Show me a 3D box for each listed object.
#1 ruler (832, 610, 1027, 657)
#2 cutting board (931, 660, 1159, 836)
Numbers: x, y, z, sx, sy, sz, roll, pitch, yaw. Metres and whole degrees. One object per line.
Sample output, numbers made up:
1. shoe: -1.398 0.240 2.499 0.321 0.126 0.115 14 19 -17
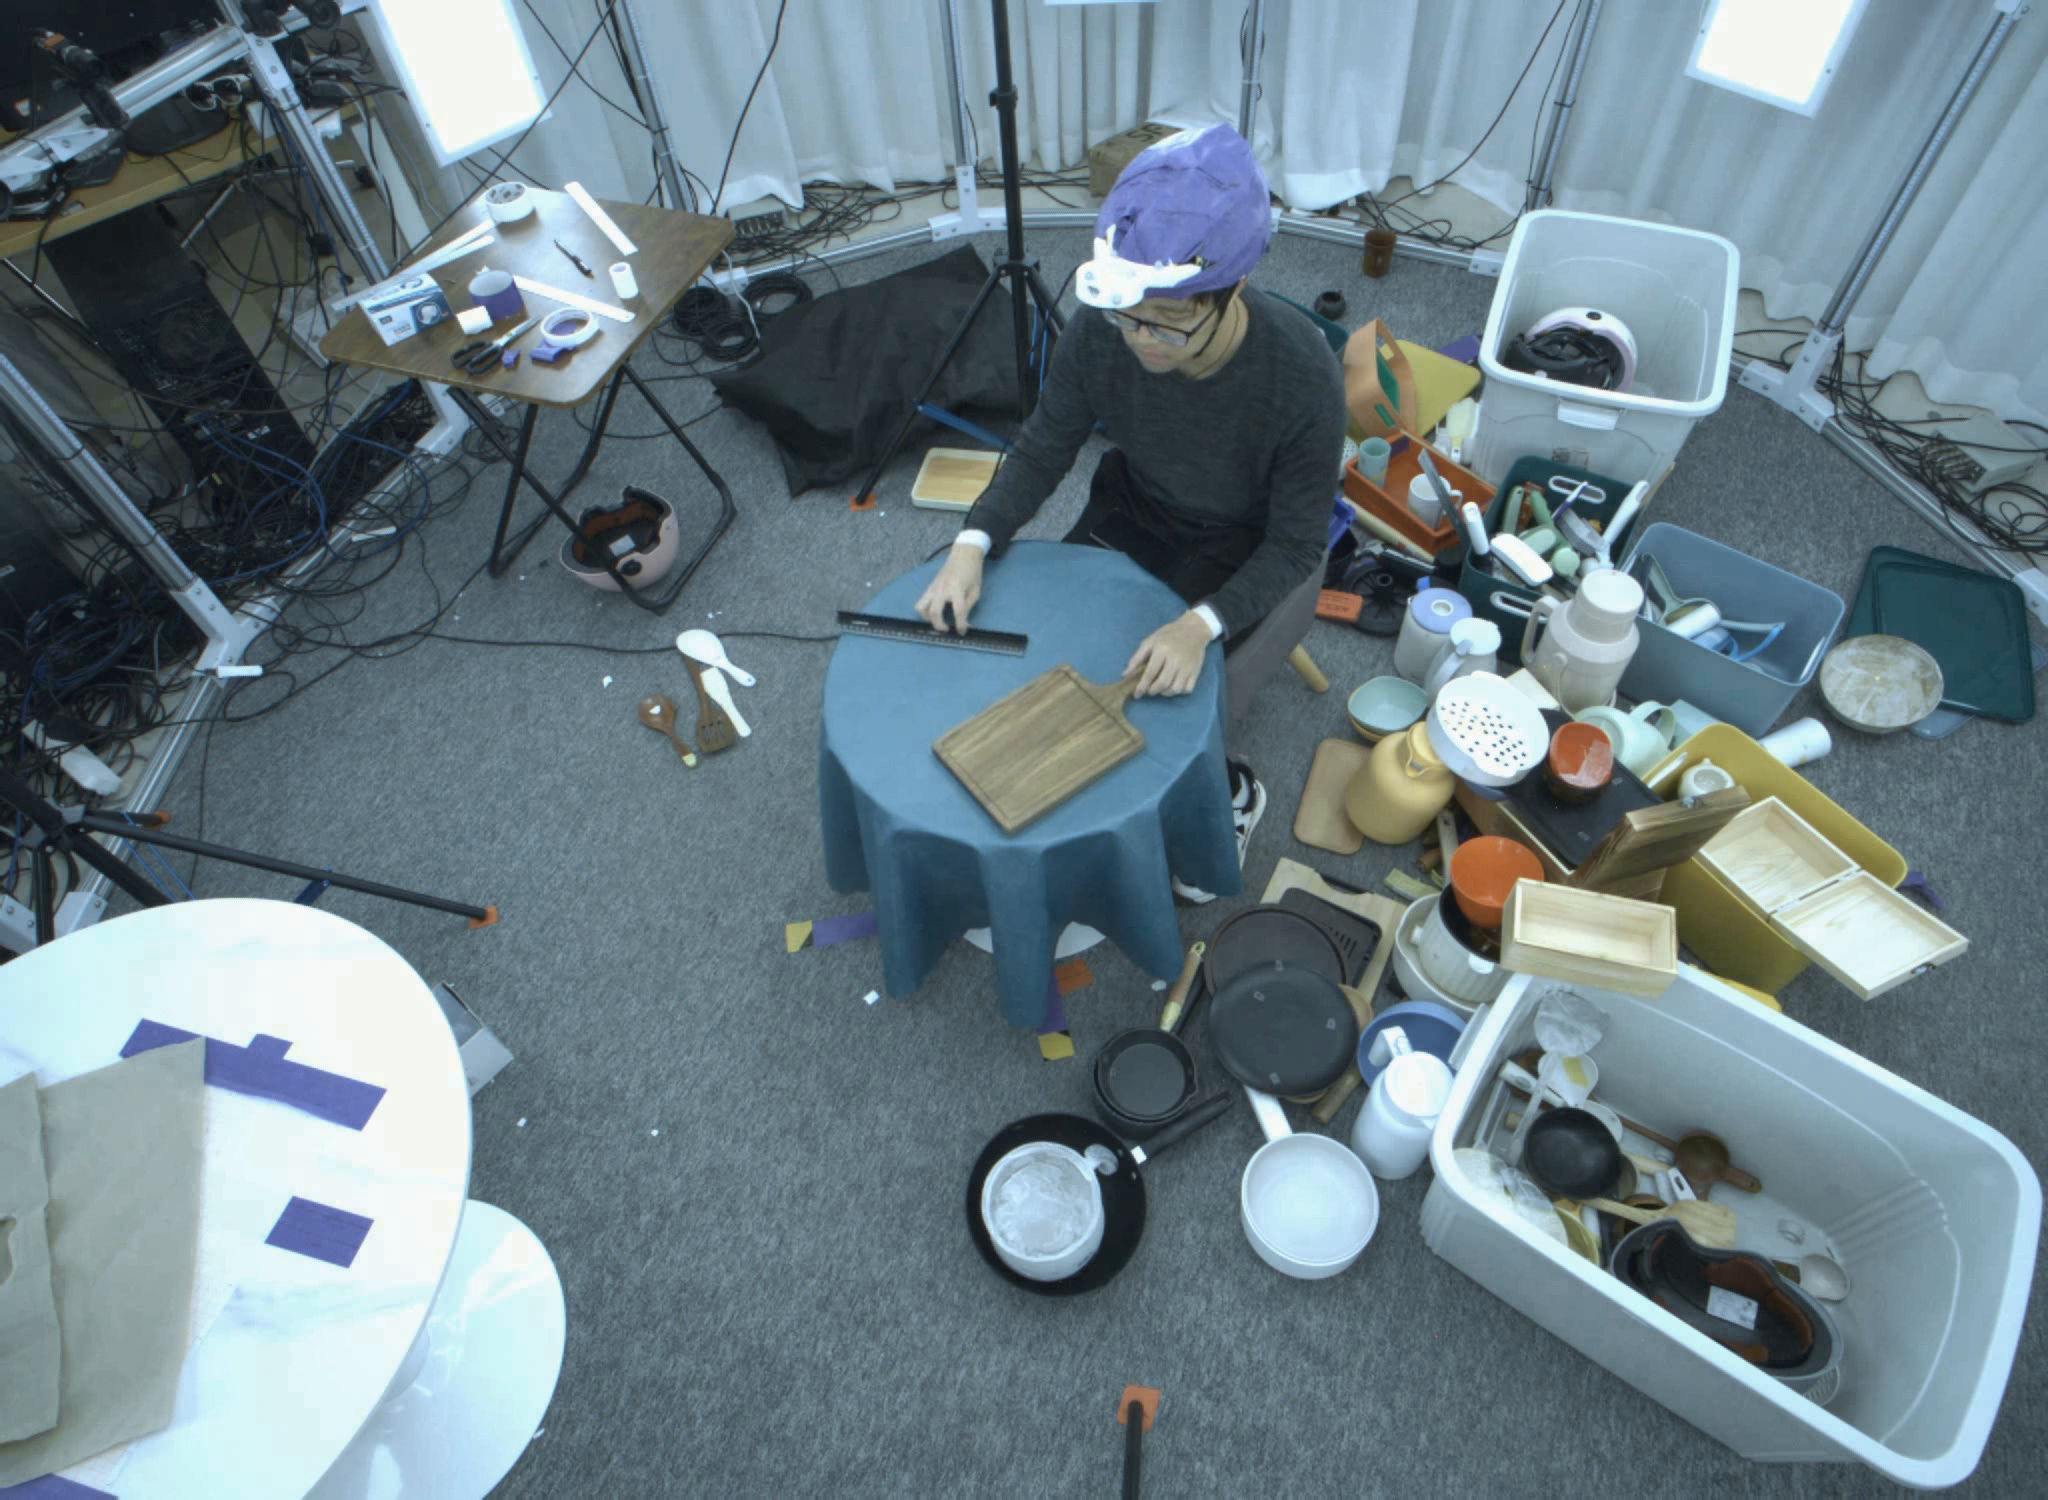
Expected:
1. ruler: -0.151 -0.185 1.914 0.310 0.017 0.039 9 56 8
2. cutting board: 0.059 -0.033 1.796 0.355 0.023 0.197 -33 60 -20
